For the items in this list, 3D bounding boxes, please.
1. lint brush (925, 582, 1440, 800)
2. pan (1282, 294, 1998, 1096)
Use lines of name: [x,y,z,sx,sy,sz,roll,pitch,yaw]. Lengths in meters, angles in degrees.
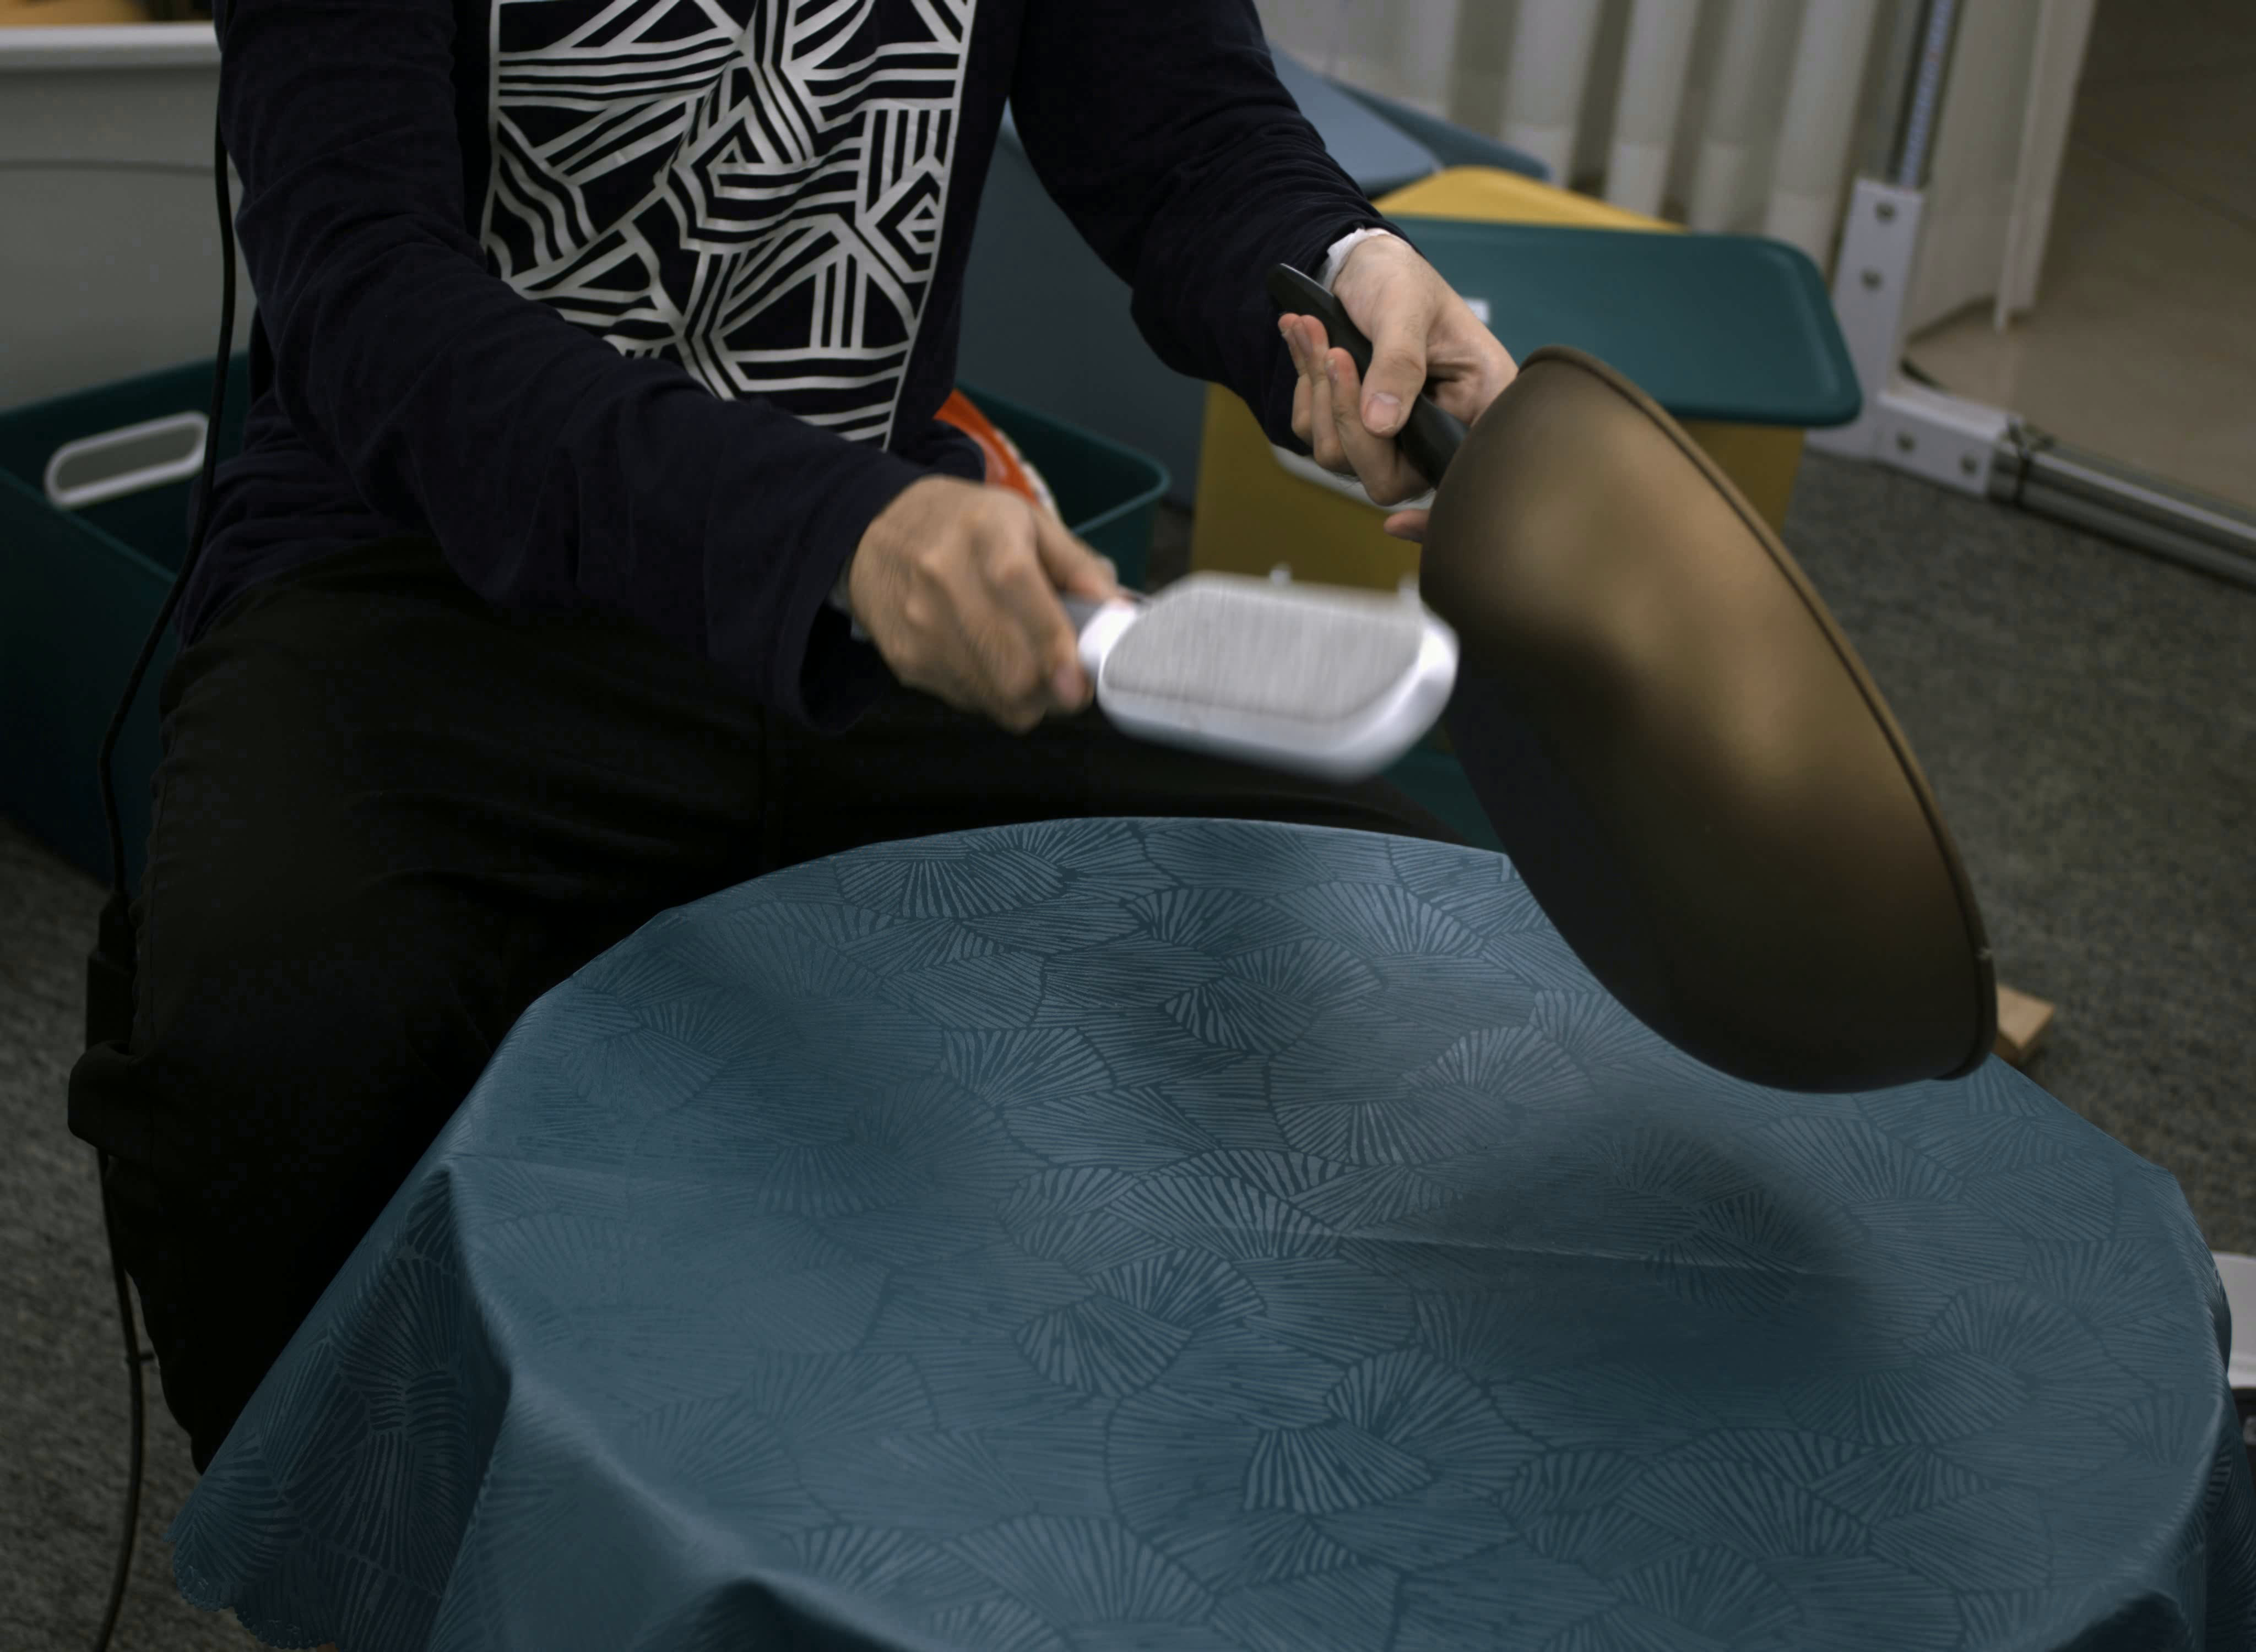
lint brush: [0.011,-0.053,1.746,0.021,0.060,0.311,41,-12,-28]
pan: [0.132,-0.066,1.821,0.086,0.286,0.468,-29,40,-10]
